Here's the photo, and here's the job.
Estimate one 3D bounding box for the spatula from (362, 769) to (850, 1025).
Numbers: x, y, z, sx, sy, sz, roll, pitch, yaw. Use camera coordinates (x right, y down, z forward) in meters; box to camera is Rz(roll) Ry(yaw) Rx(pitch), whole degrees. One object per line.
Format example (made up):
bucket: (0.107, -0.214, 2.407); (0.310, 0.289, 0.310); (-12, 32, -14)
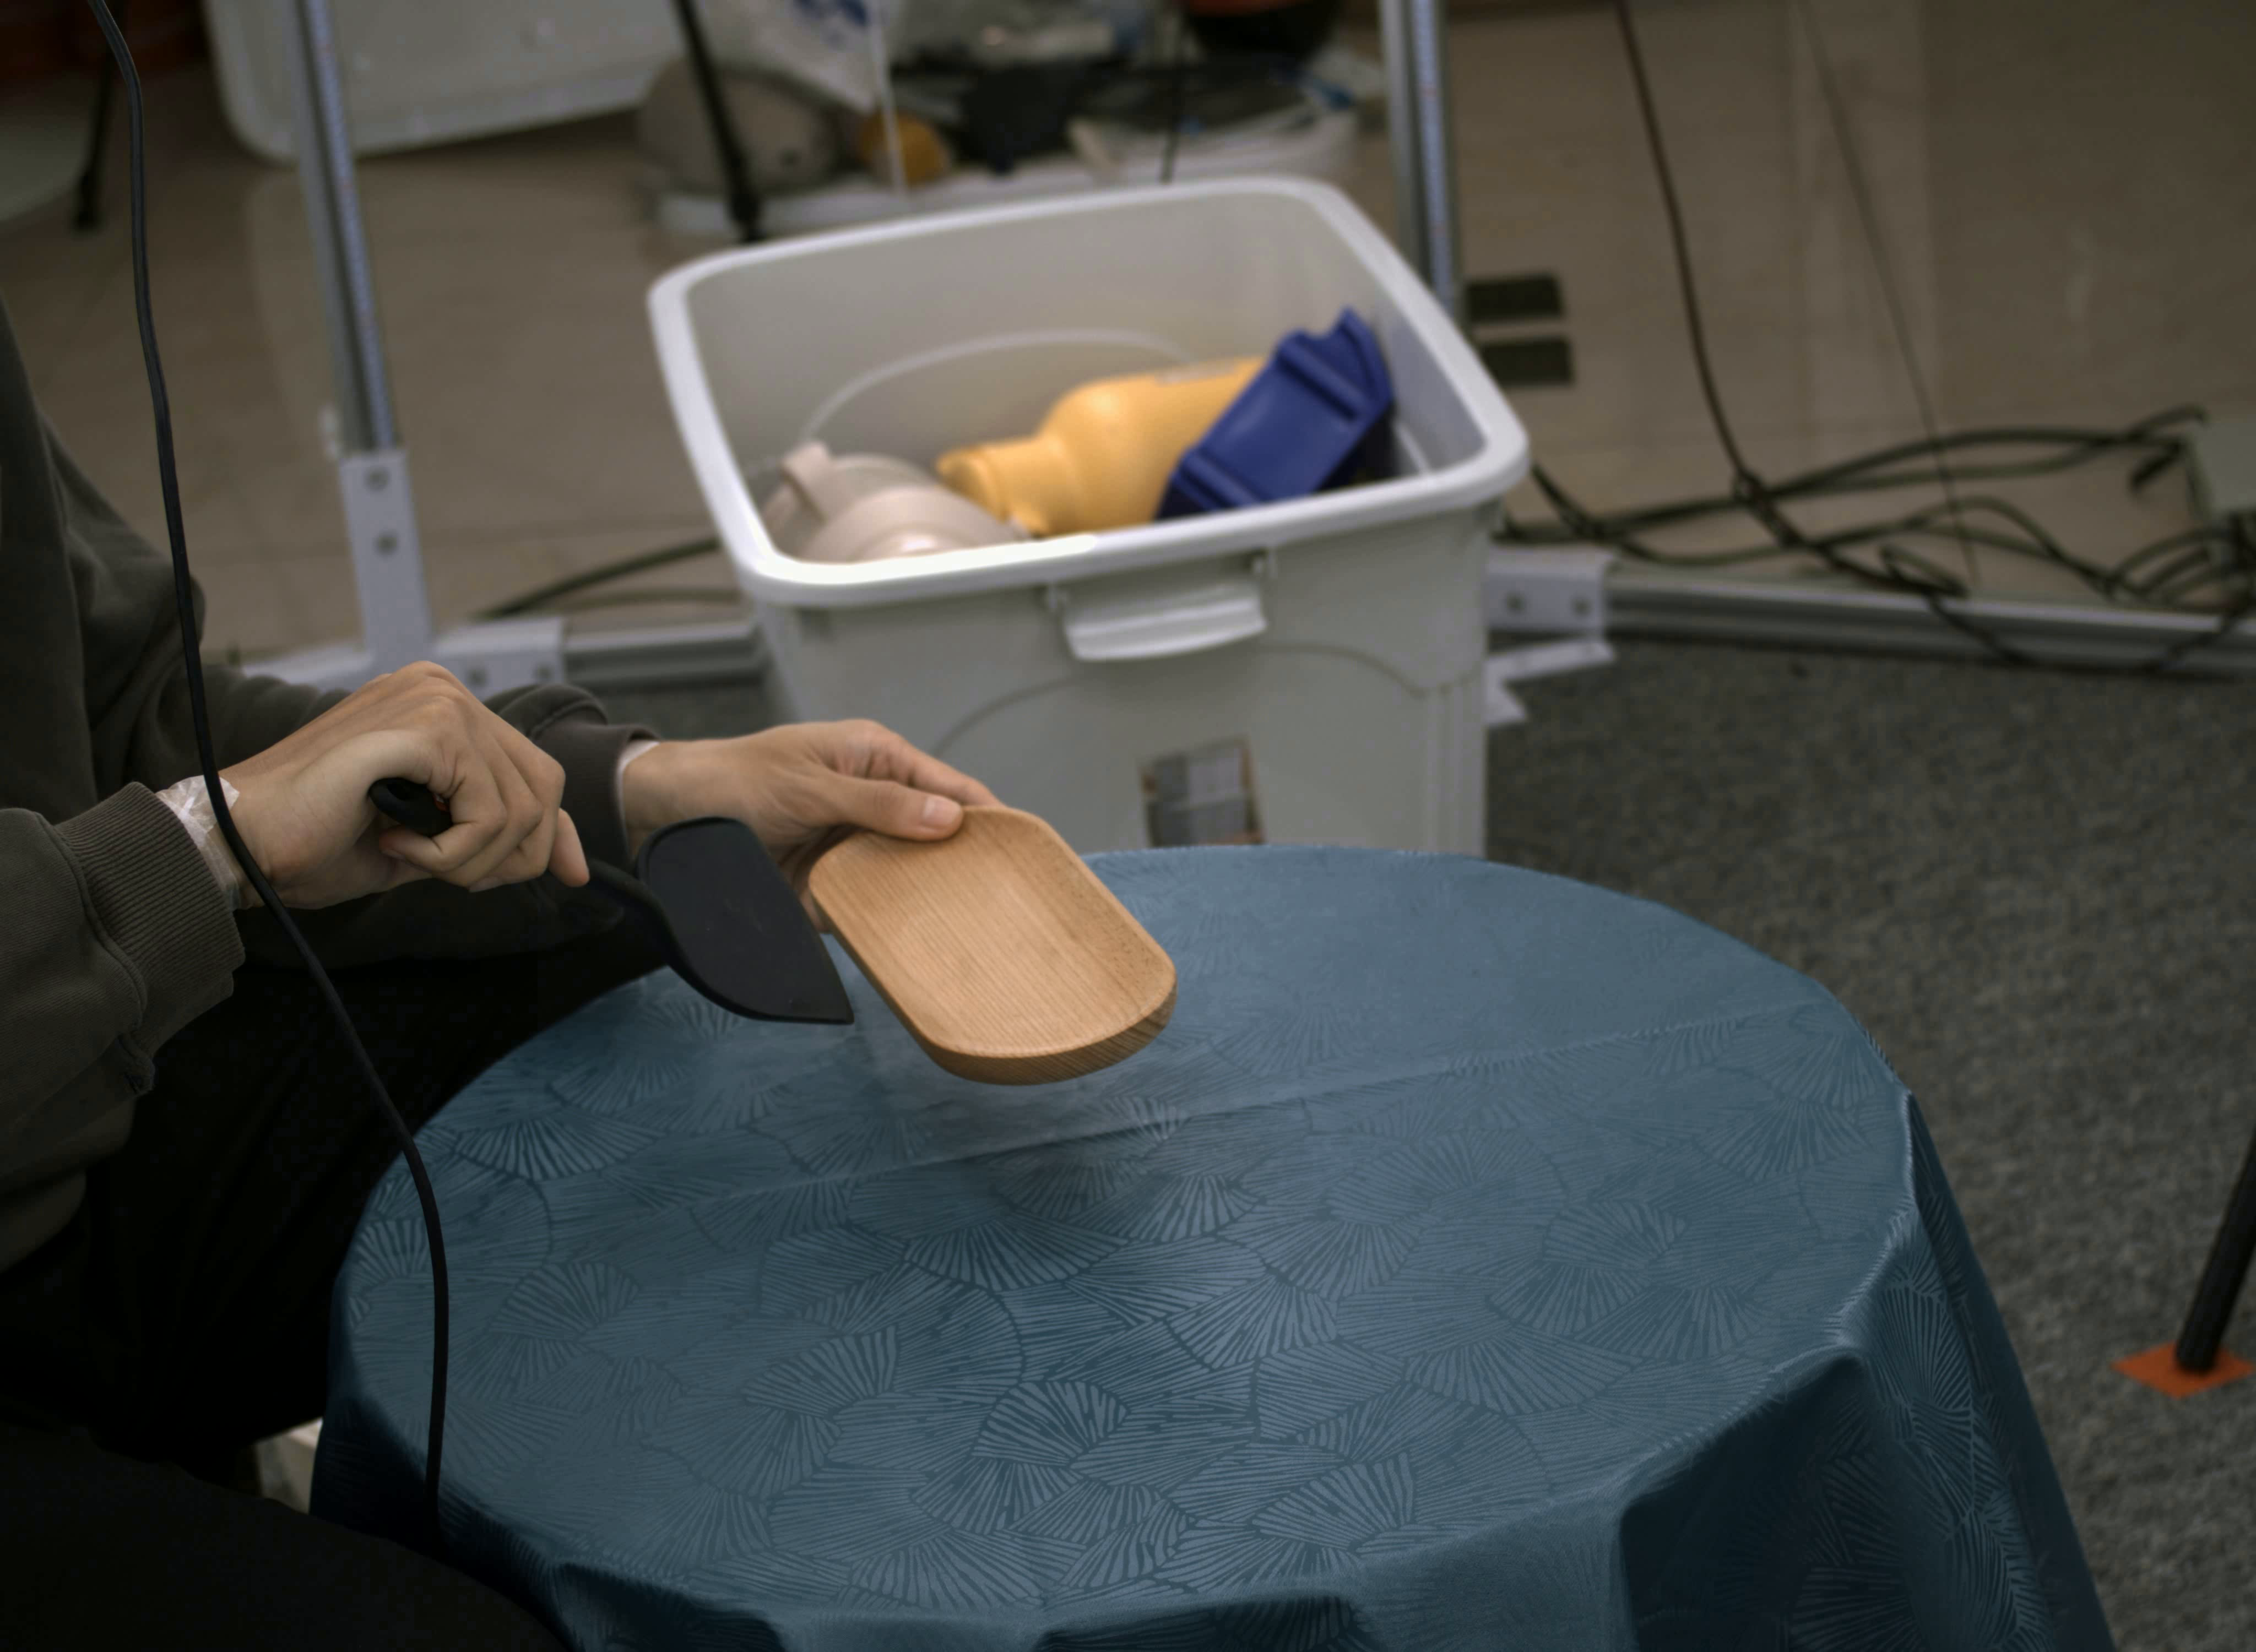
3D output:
spatula: (-0.189, 0.013, 2.013); (0.040, 0.328, 0.099); (-35, 70, 8)

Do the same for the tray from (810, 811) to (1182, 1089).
tray: (-0.052, 0.046, 2.183); (0.101, 0.020, 0.228); (-18, 28, -14)
